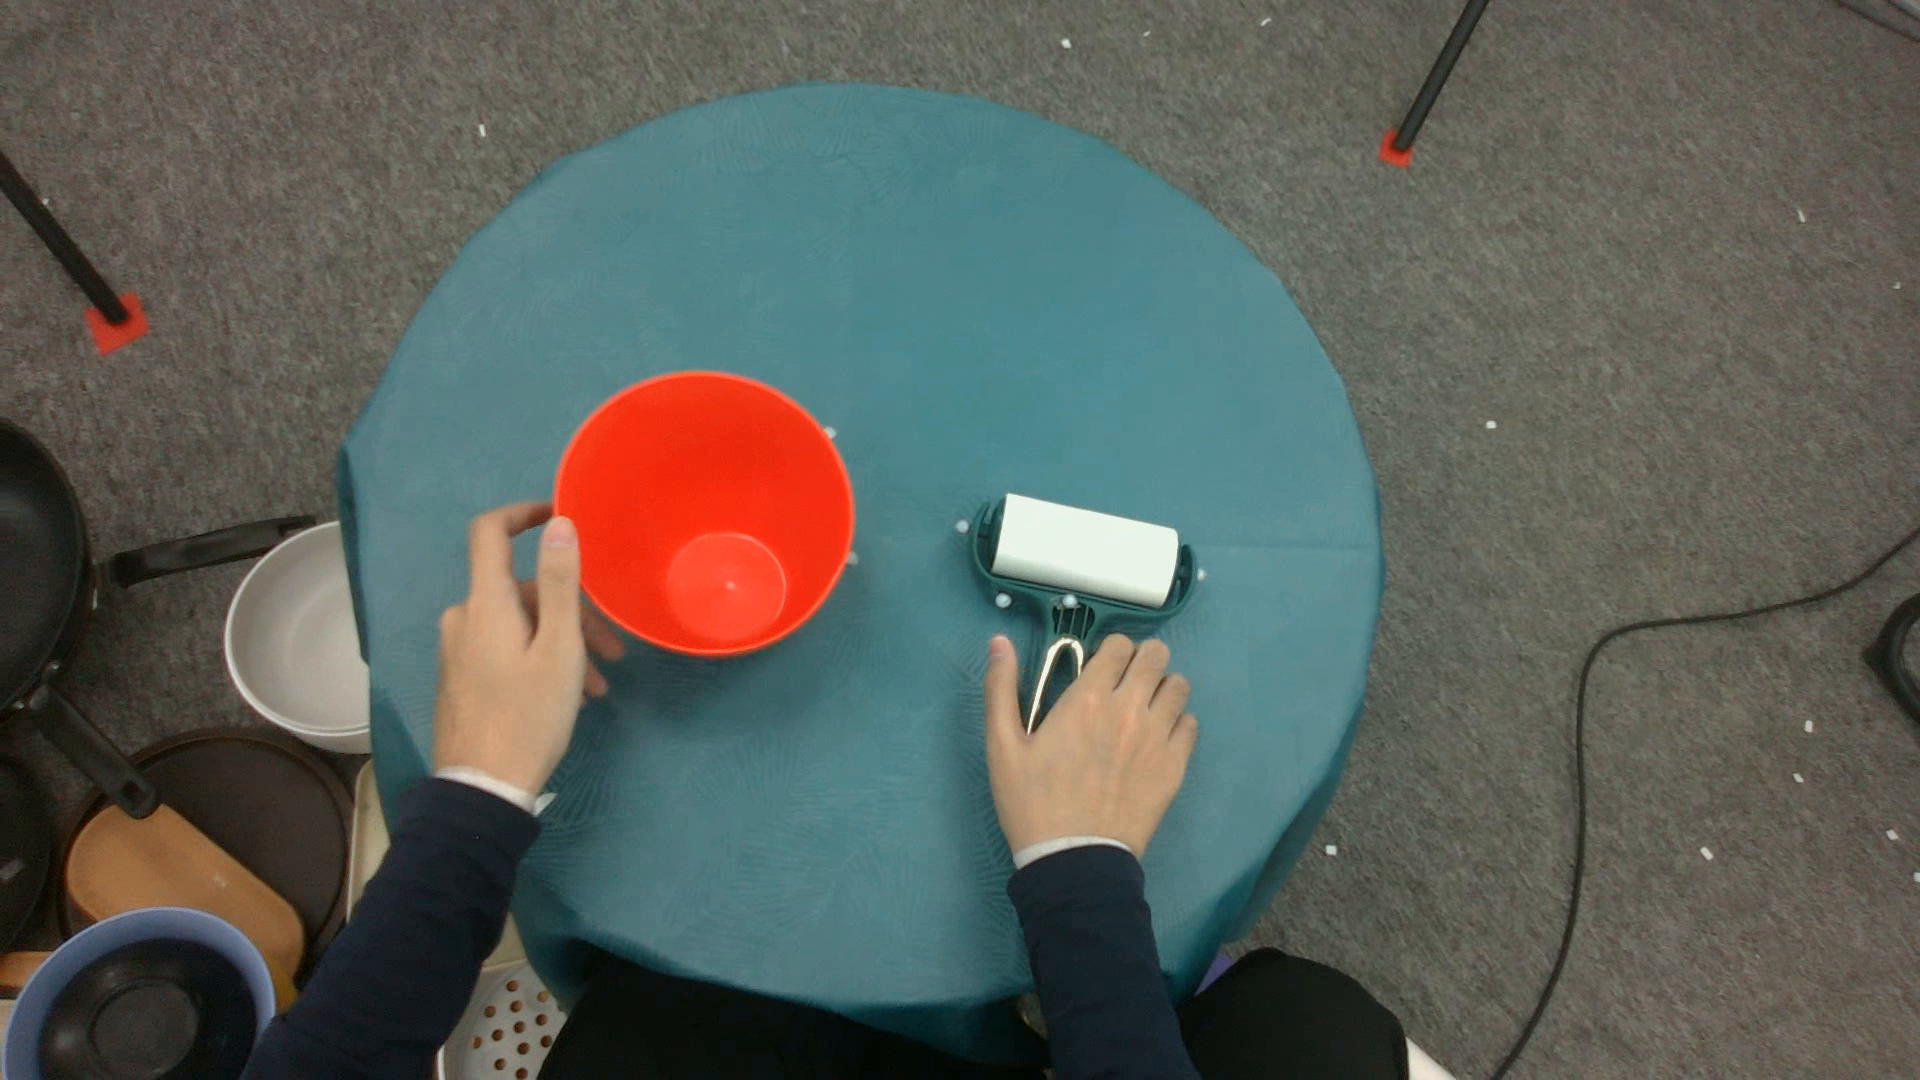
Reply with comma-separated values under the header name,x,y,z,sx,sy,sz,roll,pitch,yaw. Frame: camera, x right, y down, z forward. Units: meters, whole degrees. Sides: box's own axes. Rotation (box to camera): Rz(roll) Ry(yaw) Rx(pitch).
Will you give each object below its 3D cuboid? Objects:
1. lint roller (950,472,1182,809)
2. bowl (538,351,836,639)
name,x,y,z,sx,sy,sz,roll,pitch,yaw
lint roller,0.049,0.056,0.762,0.134,0.048,0.181,11,68,-3
bowl,-0.140,-0.011,0.730,0.148,0.104,0.148,3,69,-7
